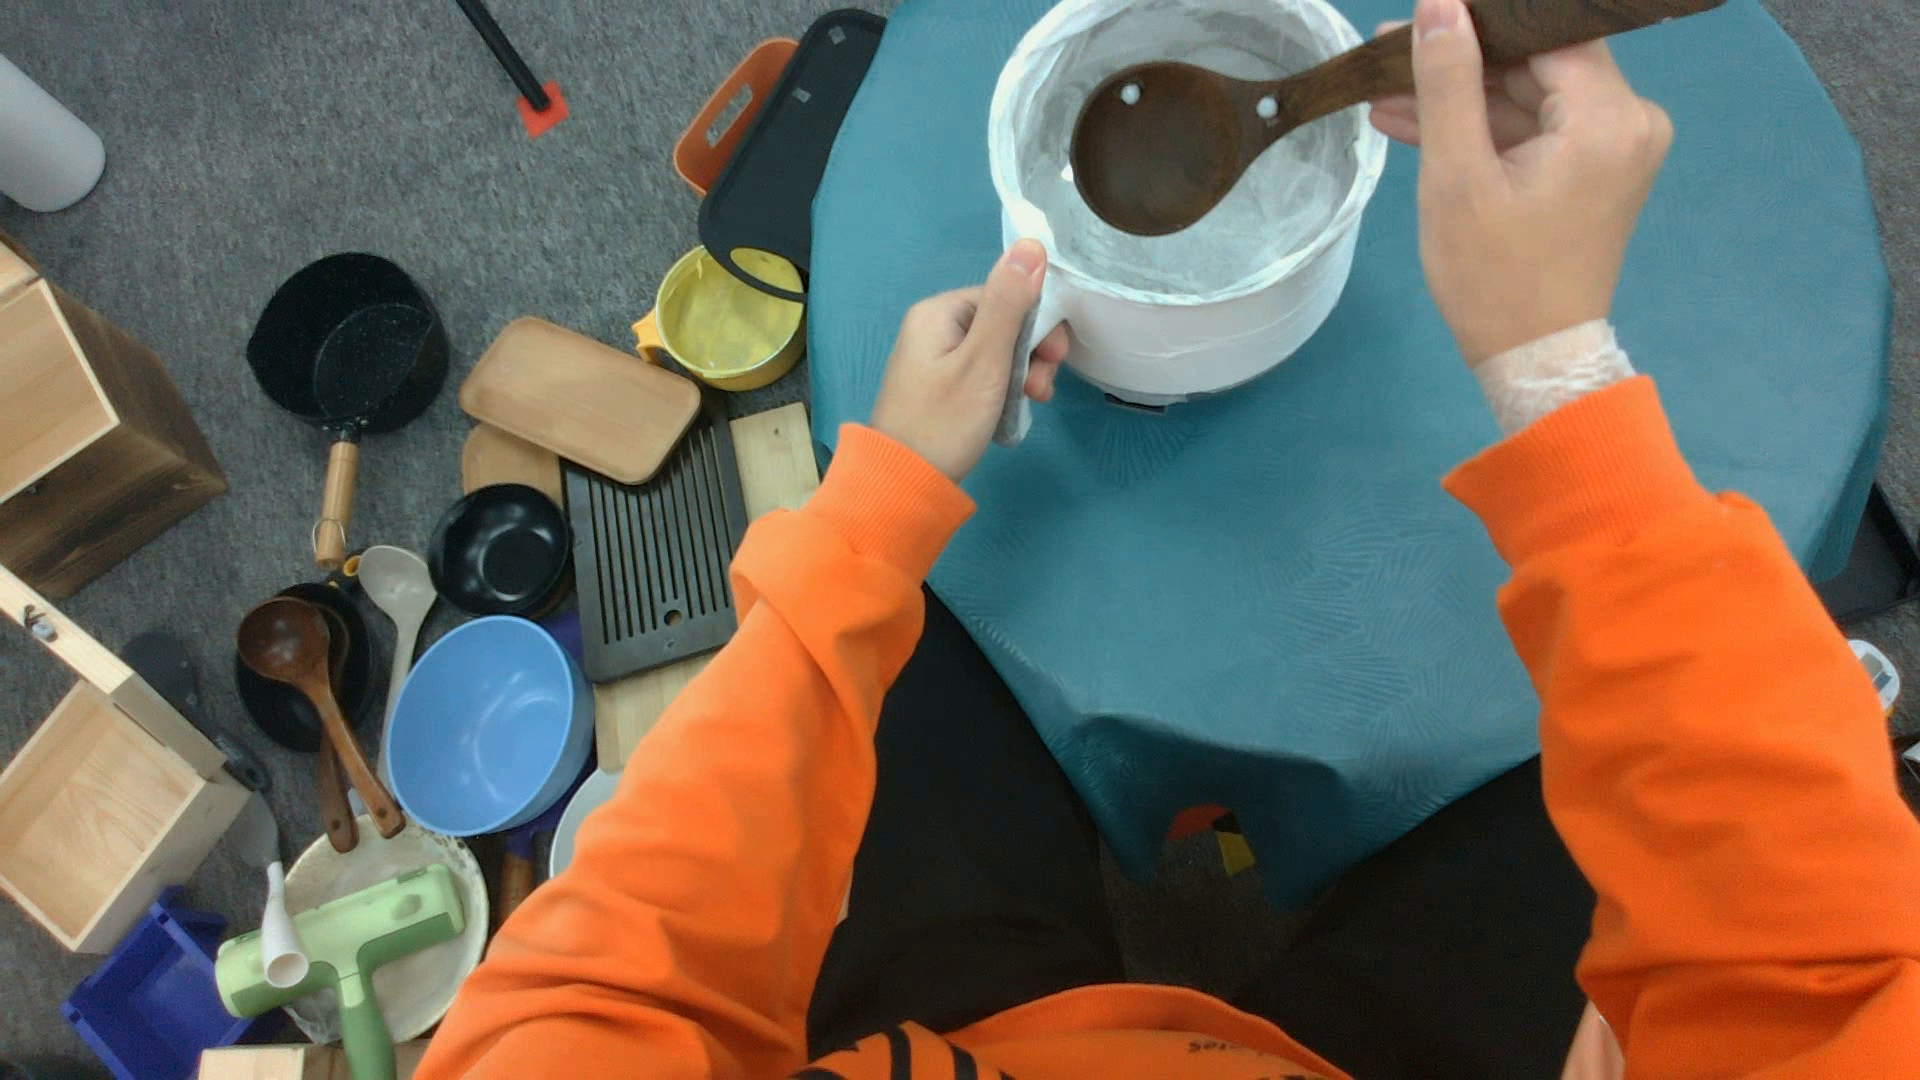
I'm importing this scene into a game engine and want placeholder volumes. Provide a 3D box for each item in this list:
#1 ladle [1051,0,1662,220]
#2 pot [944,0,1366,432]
[{"bbox_3d":[0.133,-0.176,0.519,0.071,0.273,0.076,-25,105,-26],"label":"ladle"},{"bbox_3d":[0.080,-0.155,0.676,0.179,0.136,0.234,41,81,16],"label":"pot"}]
